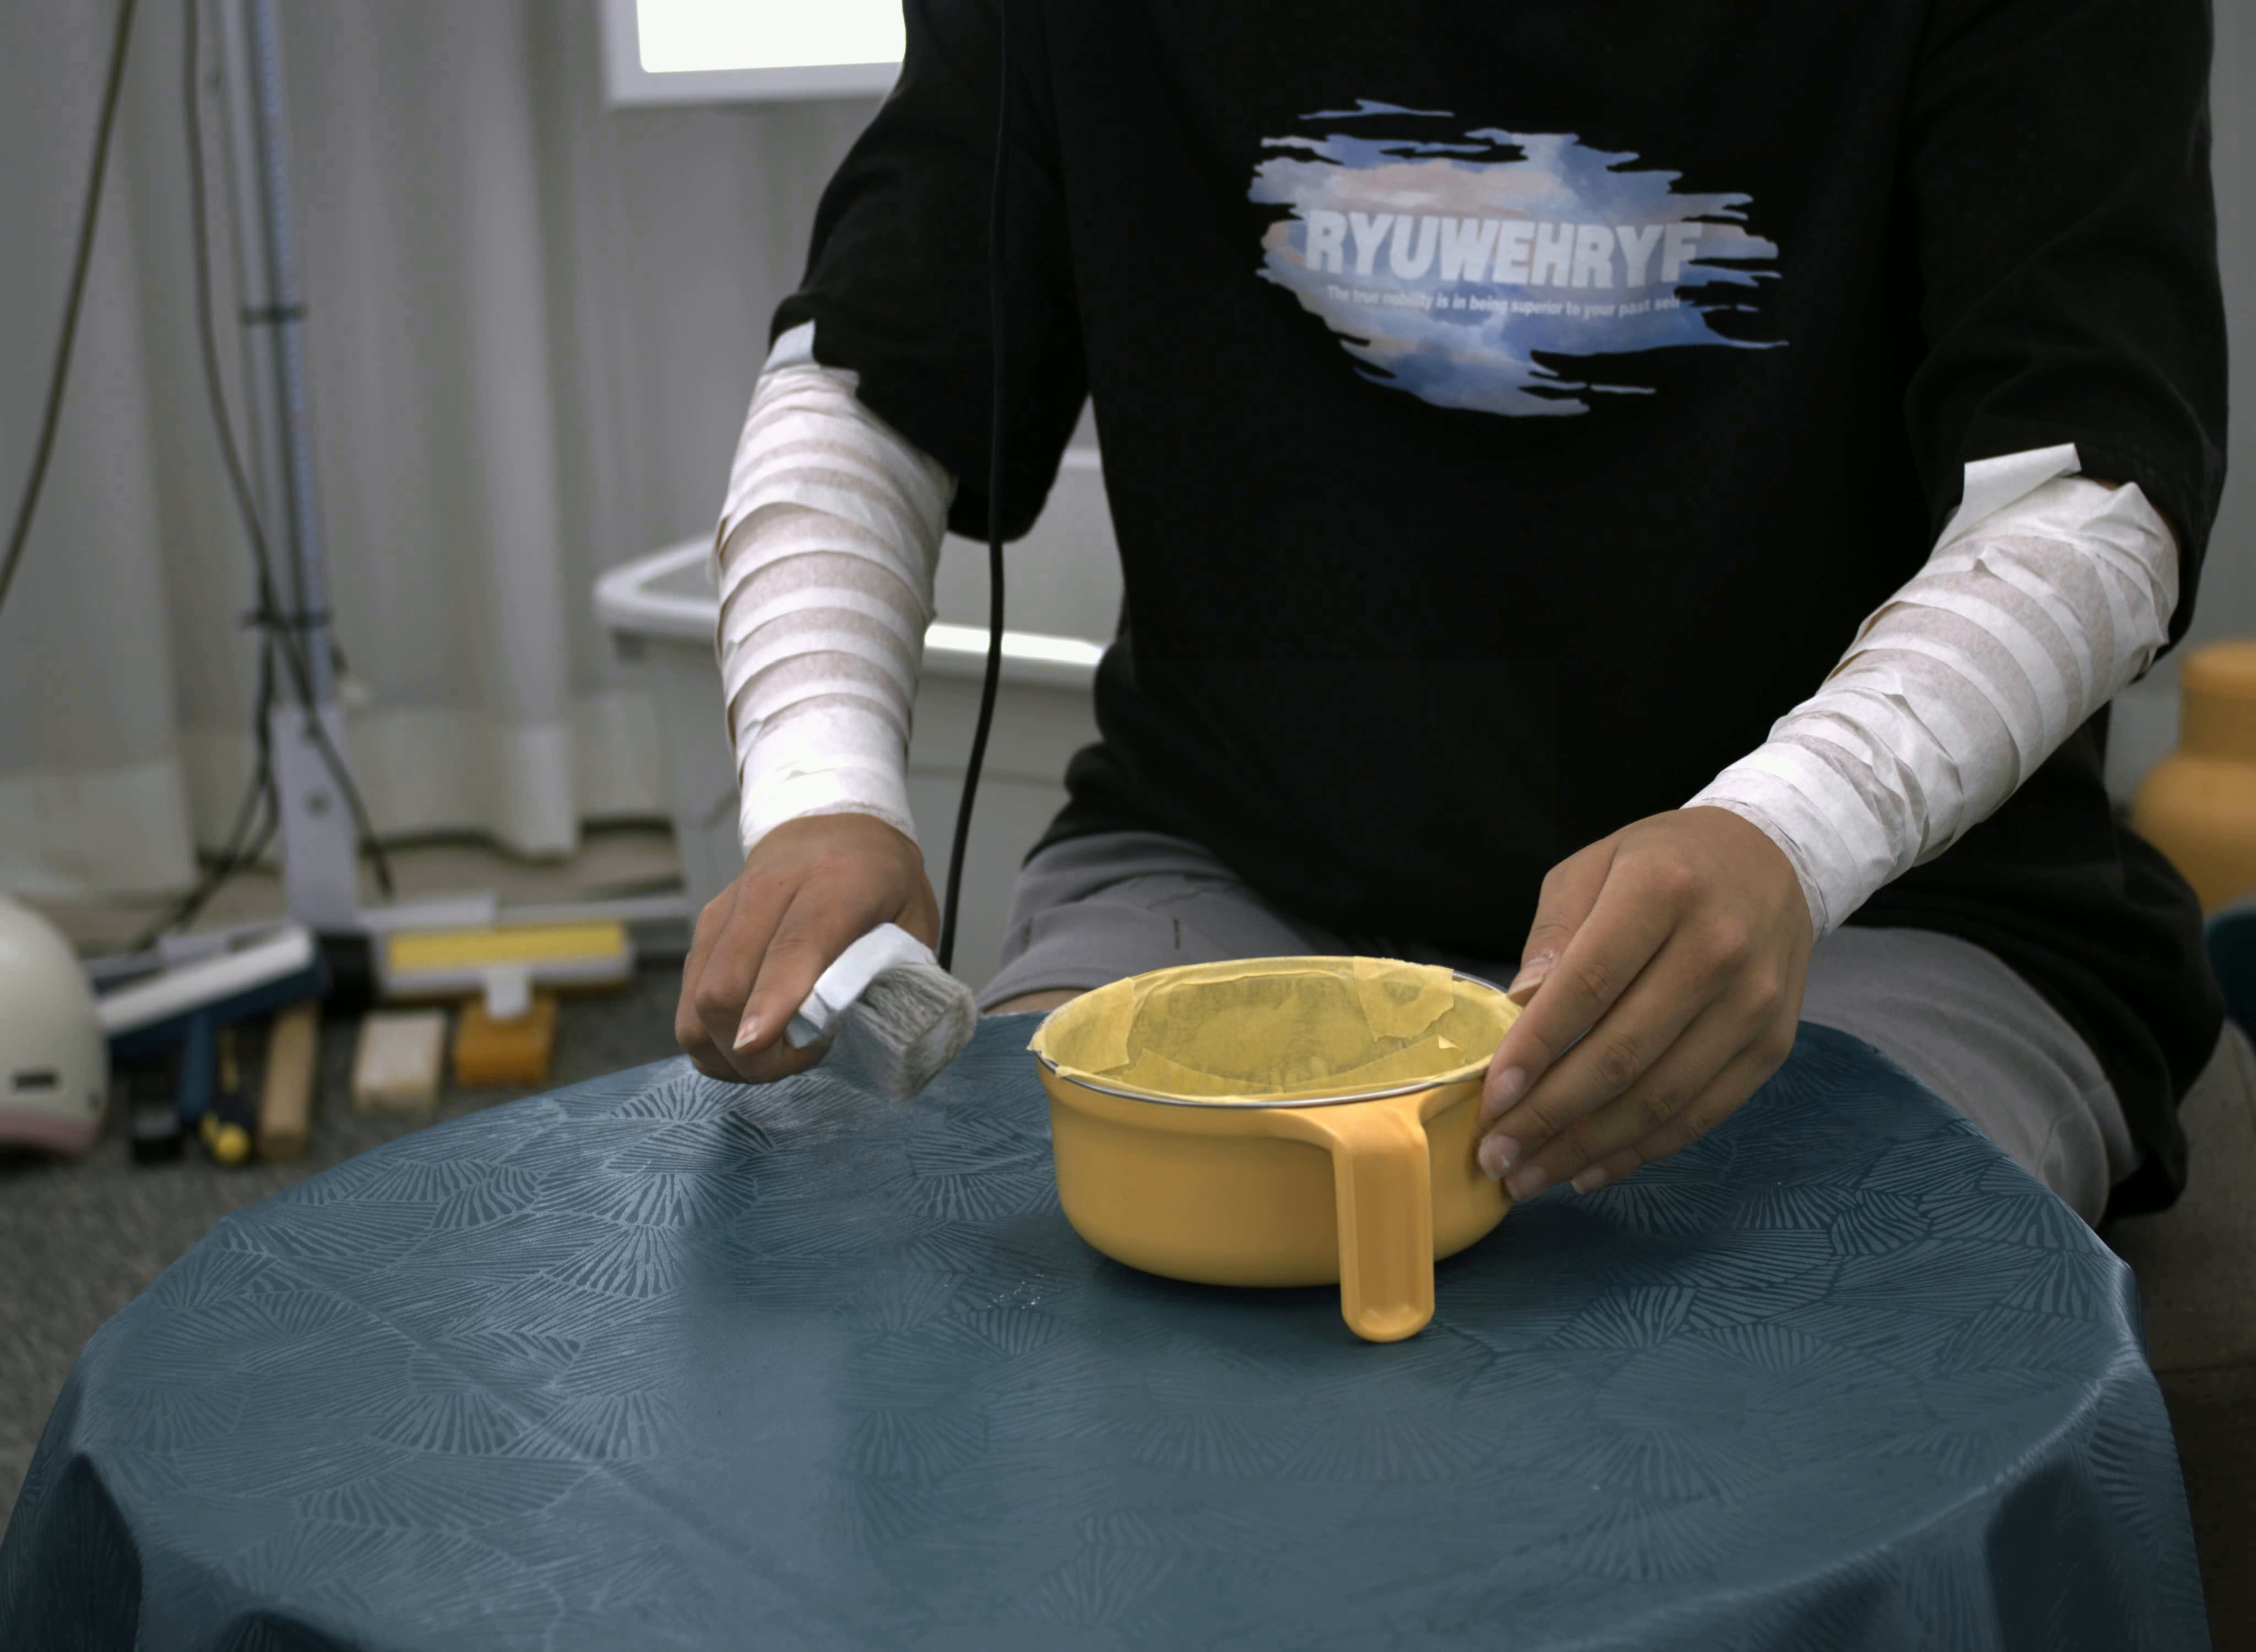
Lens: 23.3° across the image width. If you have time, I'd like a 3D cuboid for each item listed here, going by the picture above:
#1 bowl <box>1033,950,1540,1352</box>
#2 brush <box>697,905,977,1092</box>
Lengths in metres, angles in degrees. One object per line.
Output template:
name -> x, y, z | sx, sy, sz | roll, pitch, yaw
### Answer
bowl -> 0.051, 0.095, 1.645 | 0.152, 0.074, 0.181 | -3, 14, -17
brush -> -0.093, 0.067, 1.743 | 0.034, 0.050, 0.243 | -50, 5, -17
